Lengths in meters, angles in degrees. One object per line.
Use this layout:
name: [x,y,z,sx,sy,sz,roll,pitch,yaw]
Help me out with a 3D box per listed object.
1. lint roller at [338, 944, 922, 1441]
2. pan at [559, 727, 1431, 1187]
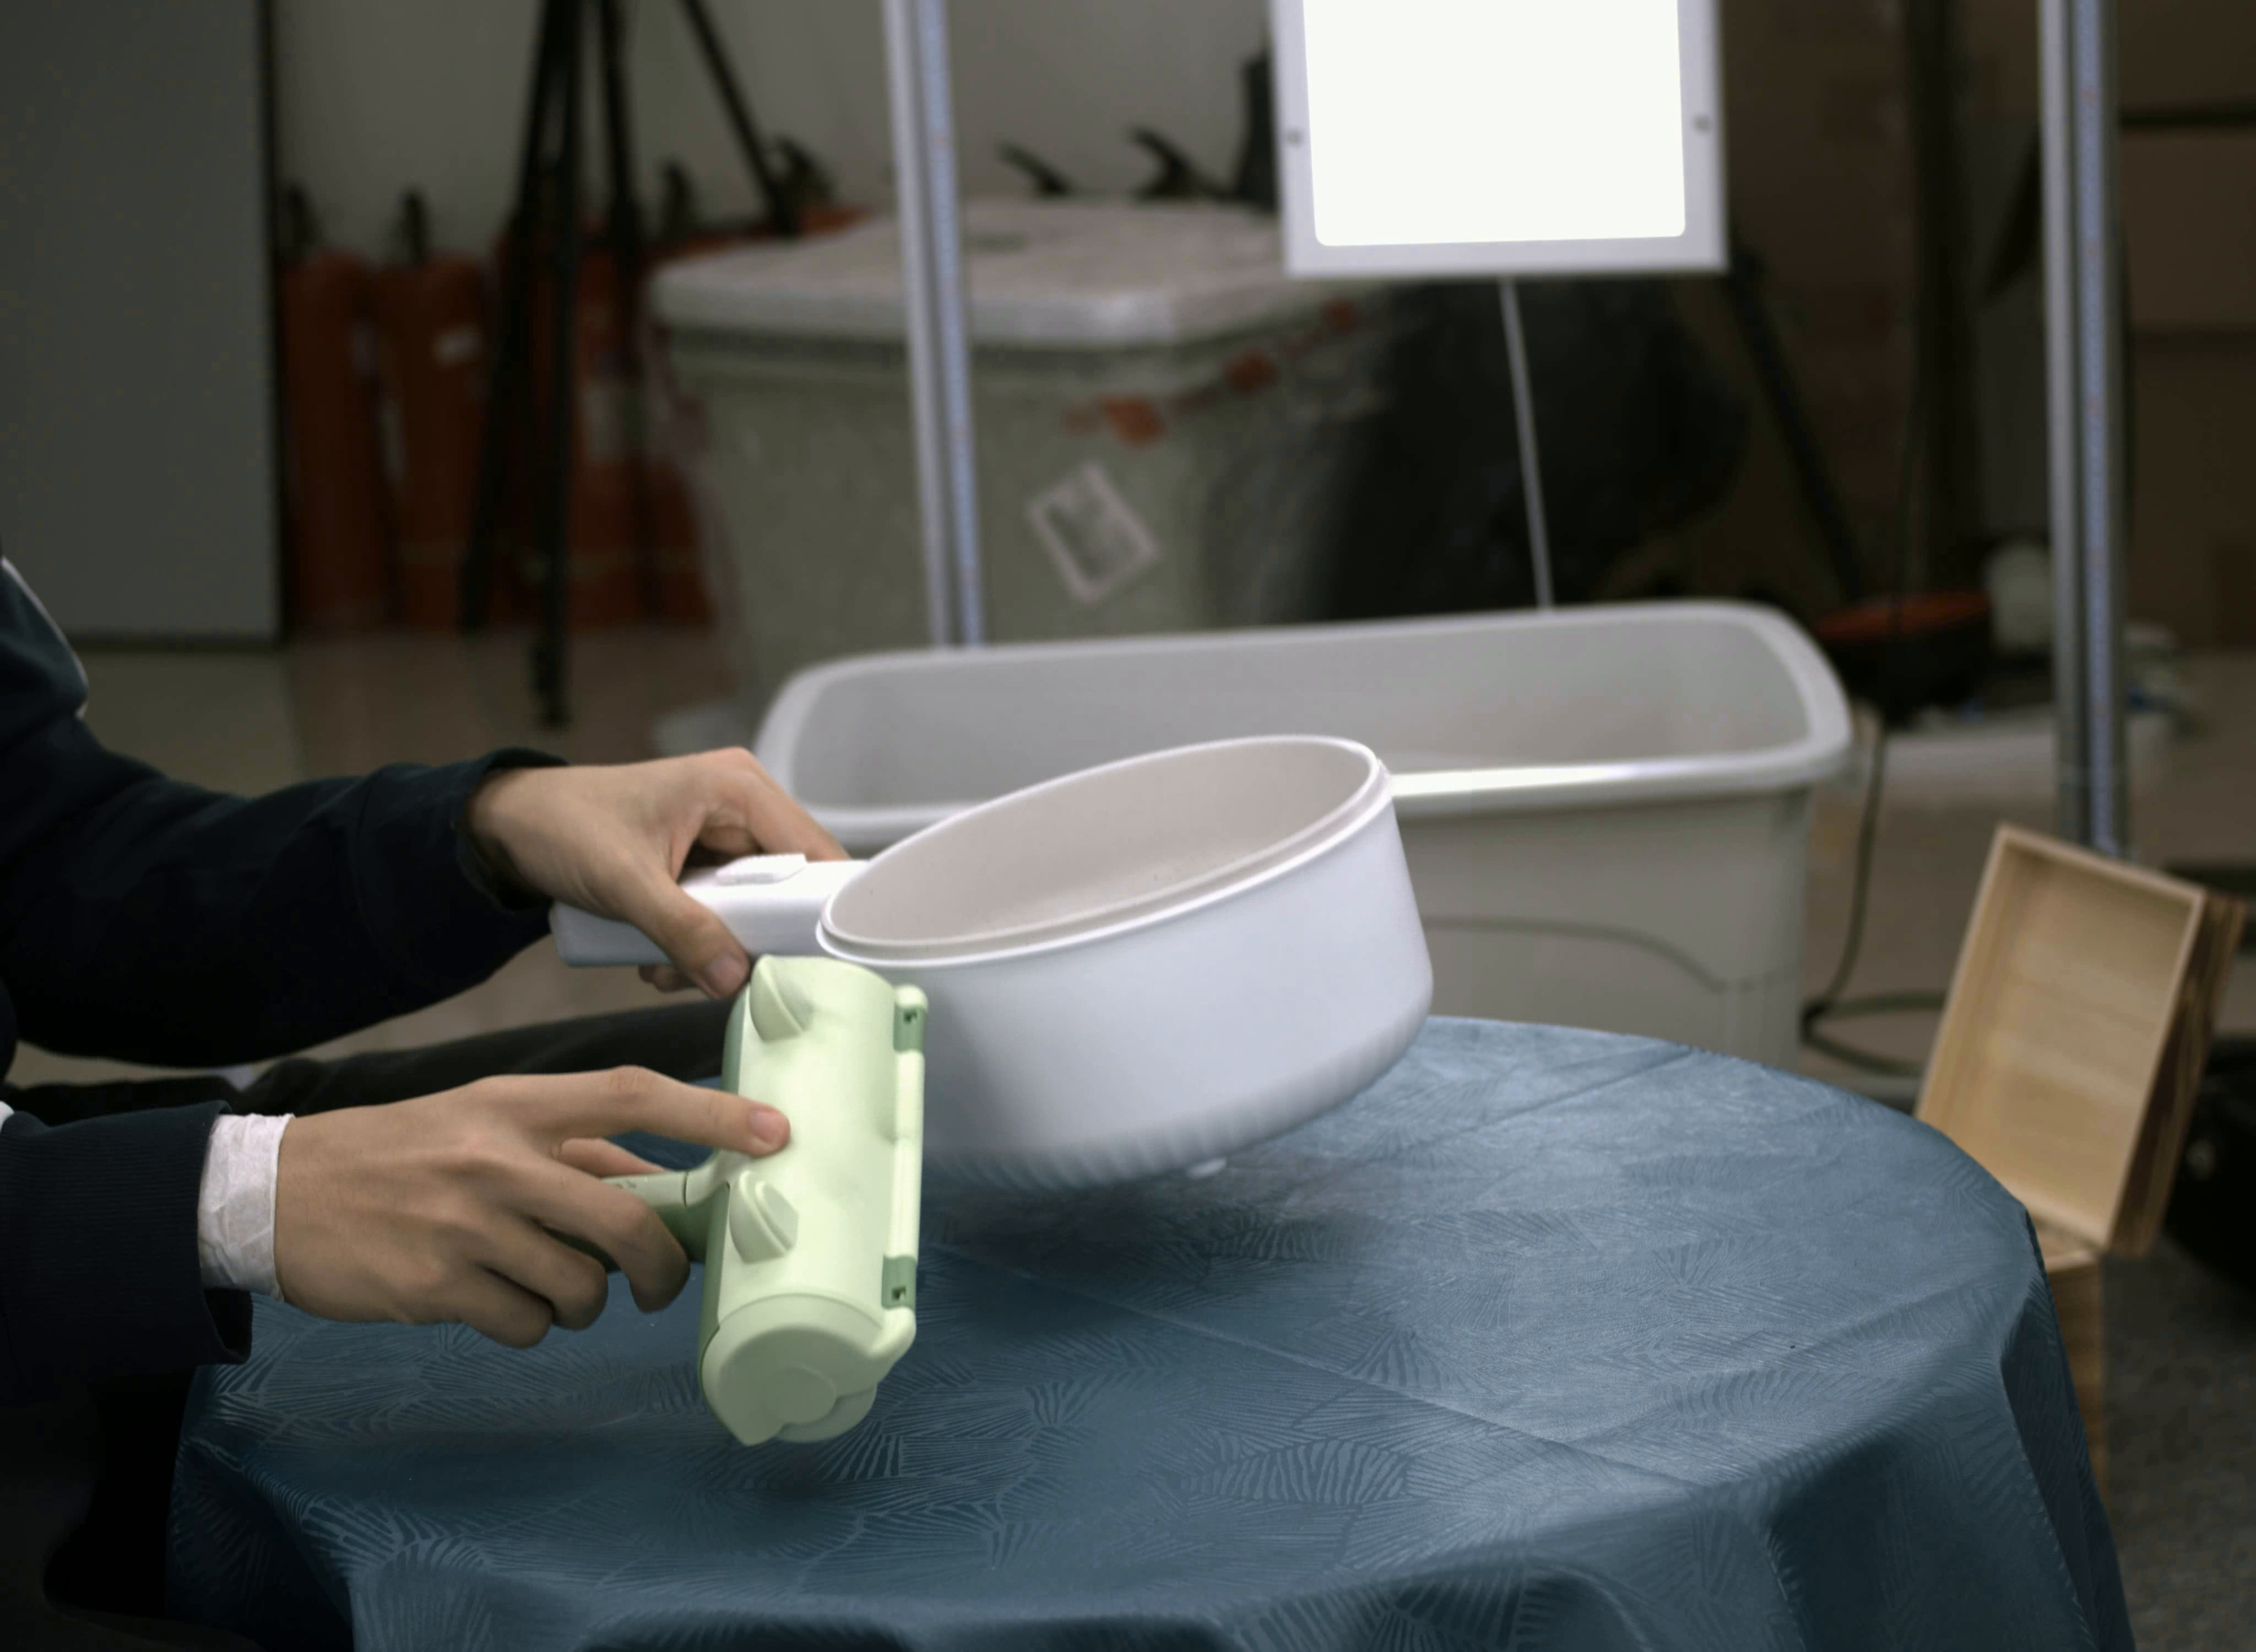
lint roller: [-0.155,0.107,1.692,0.183,0.082,0.198,-4,33,3]
pan: [-0.055,0.053,1.908,0.363,0.102,0.196,-6,17,42]
